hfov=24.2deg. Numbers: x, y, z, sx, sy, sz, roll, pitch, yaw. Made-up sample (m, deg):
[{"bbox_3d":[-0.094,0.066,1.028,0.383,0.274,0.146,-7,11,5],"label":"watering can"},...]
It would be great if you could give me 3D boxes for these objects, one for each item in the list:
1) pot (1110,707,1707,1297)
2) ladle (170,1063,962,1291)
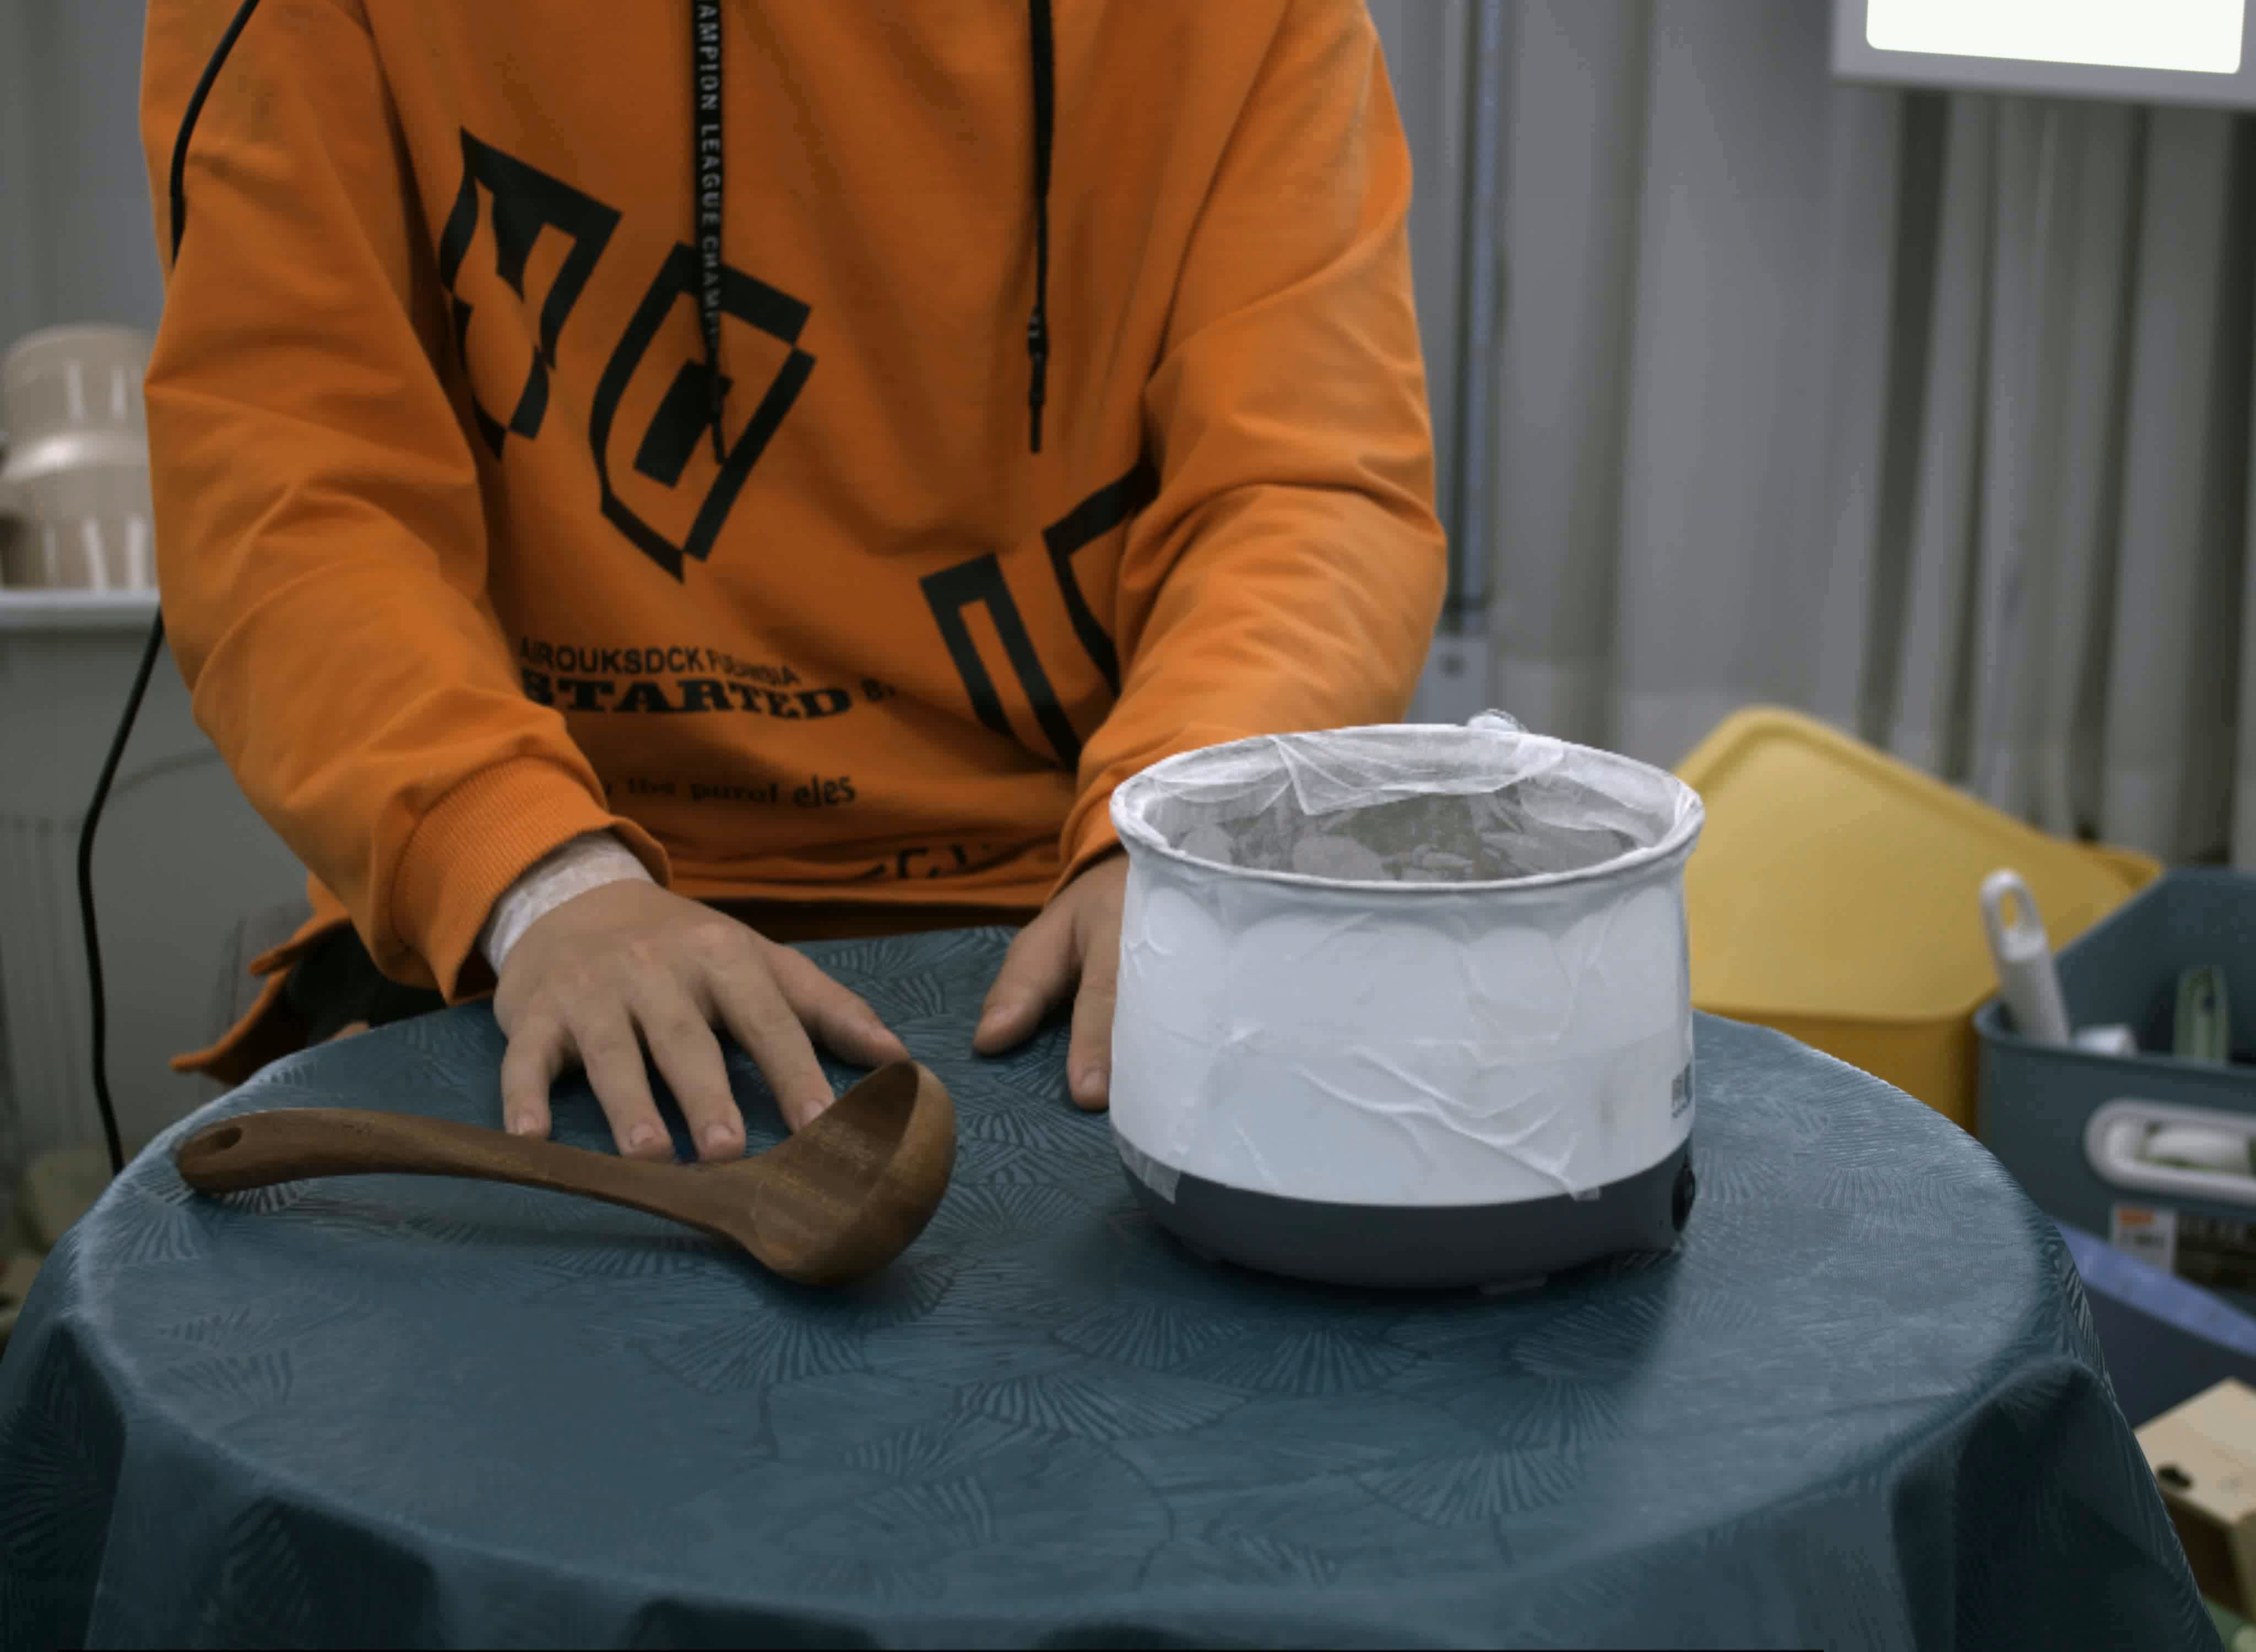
[{"bbox_3d":[0.091,0.047,1.604,0.177,0.138,0.233,5,17,16],"label":"pot"},{"bbox_3d":[-0.172,0.095,1.567,0.258,0.066,0.076,6,42,16],"label":"ladle"}]
